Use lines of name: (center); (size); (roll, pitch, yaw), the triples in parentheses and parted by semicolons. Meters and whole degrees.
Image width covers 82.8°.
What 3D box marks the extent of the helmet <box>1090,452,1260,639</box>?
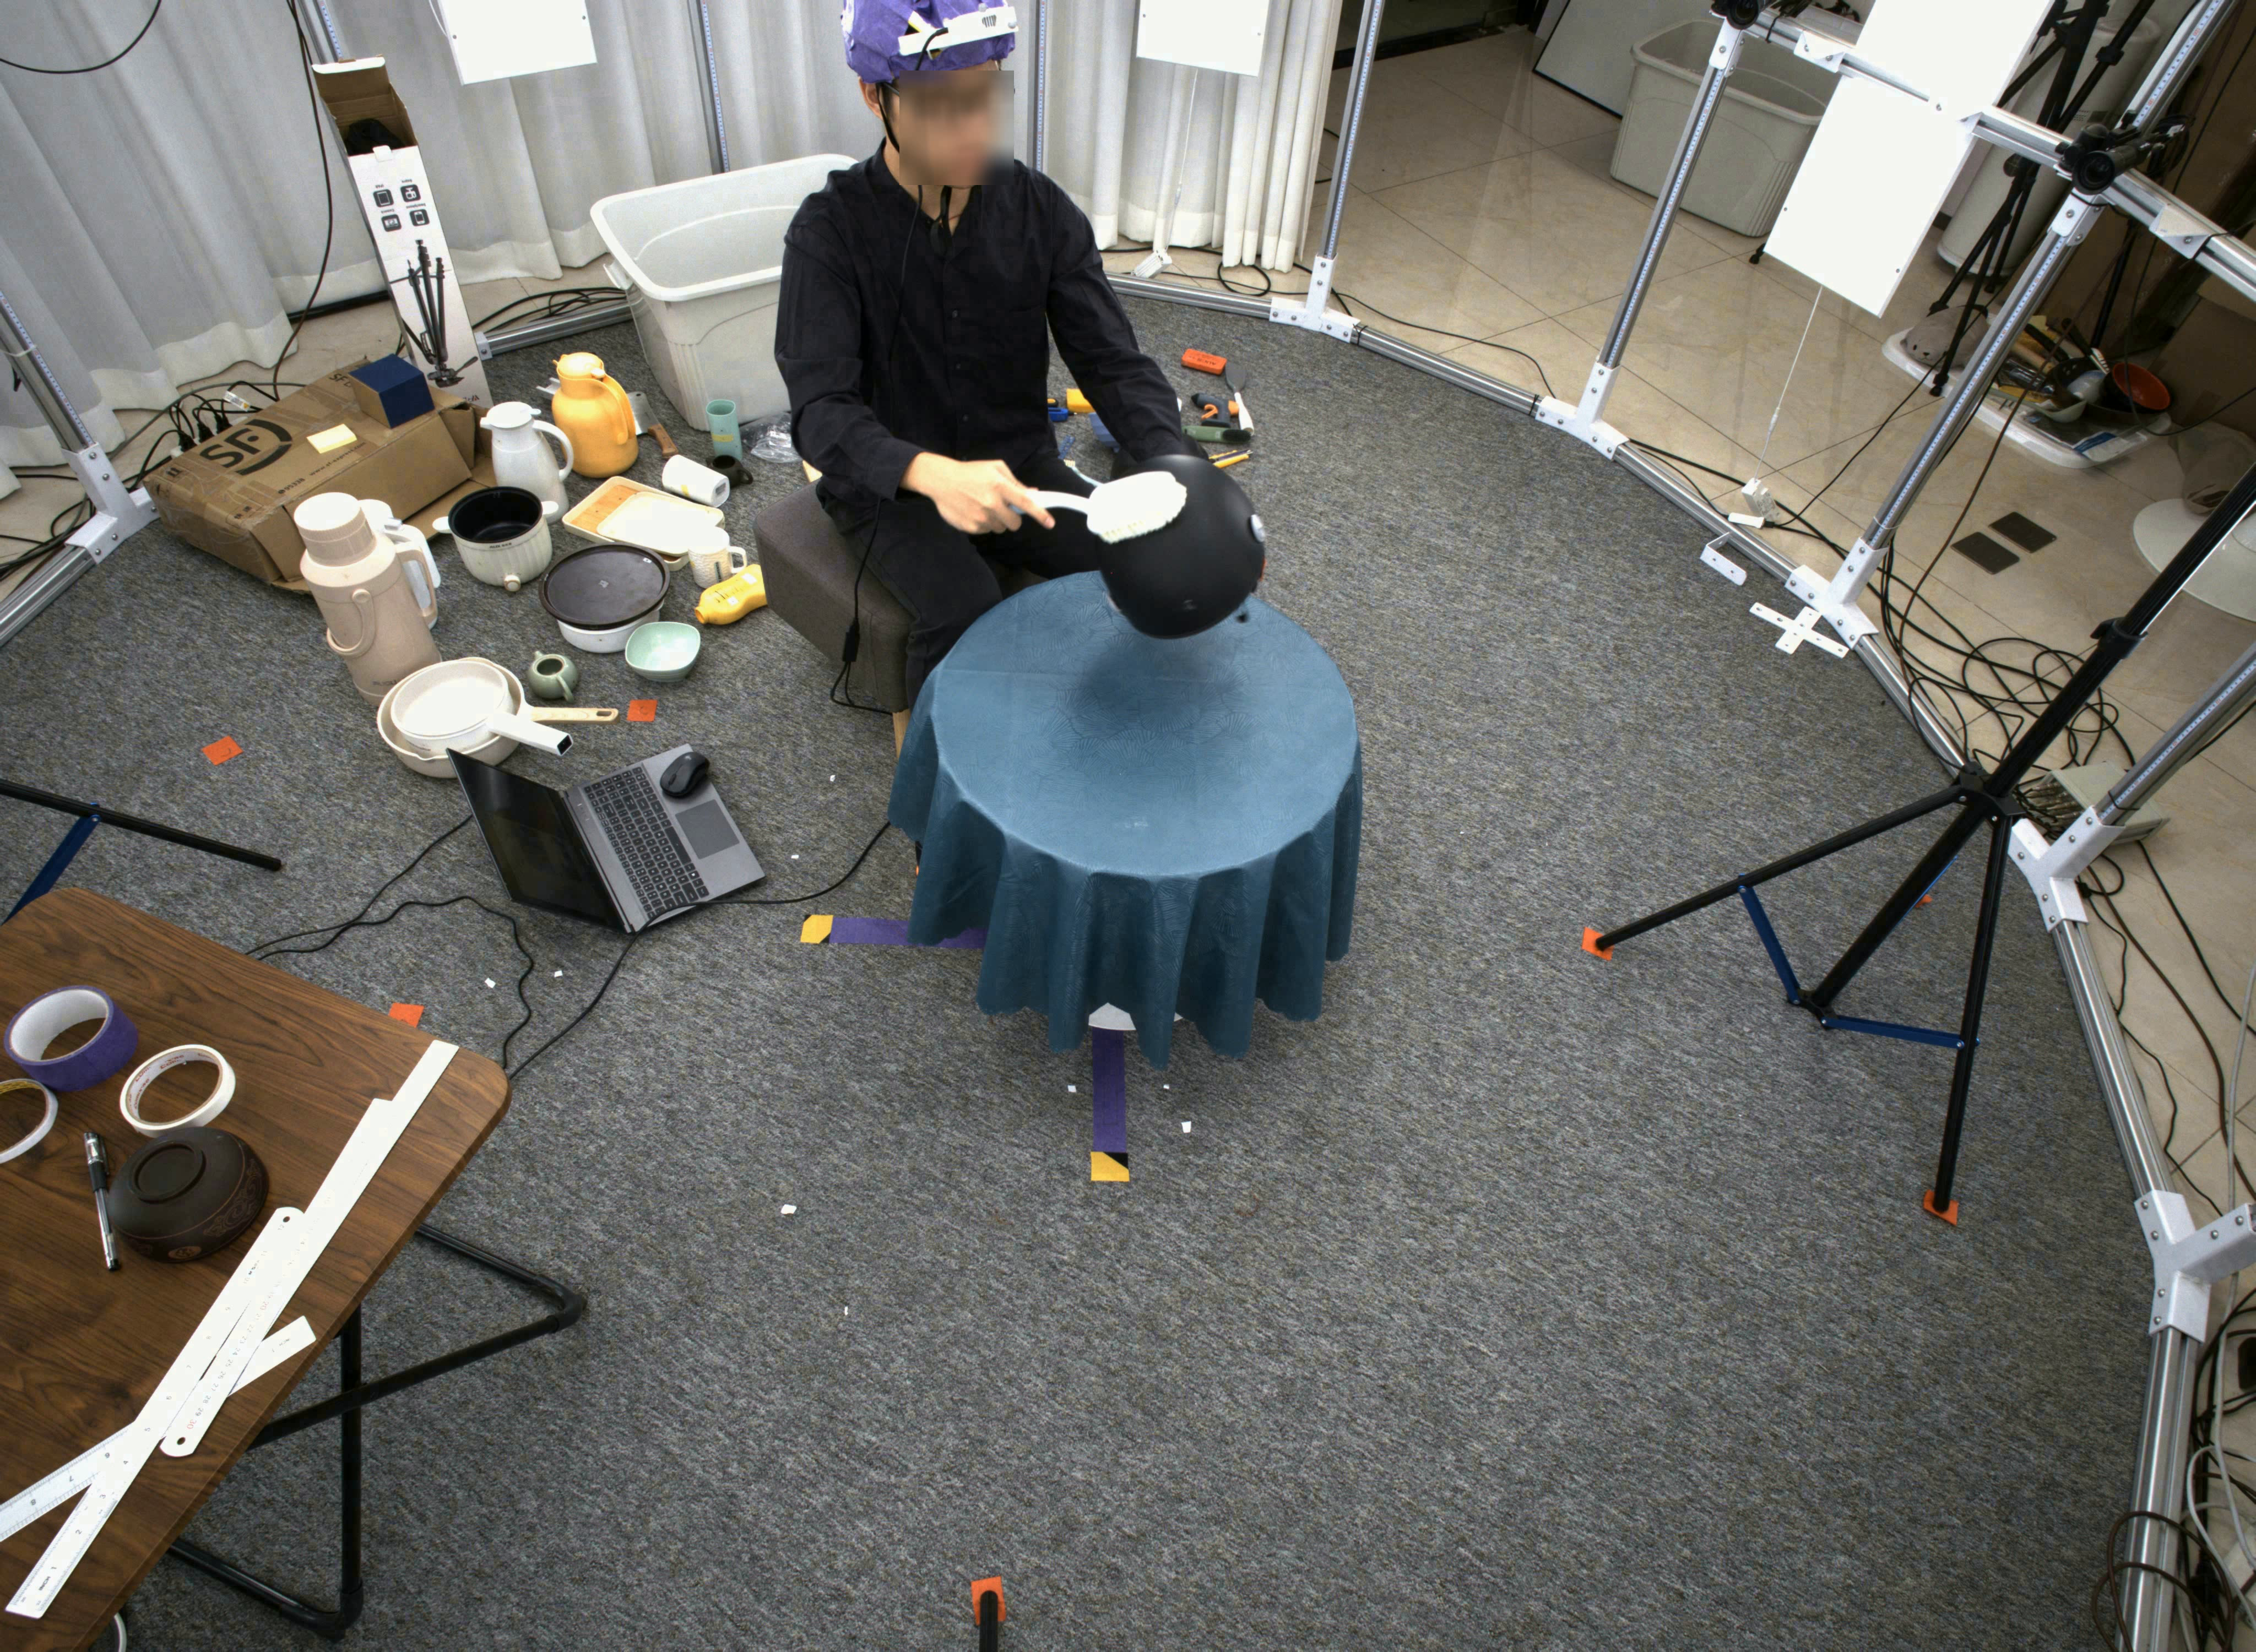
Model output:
helmet: (0.049, -0.393, 1.718); (0.229, 0.163, 0.280); (-24, 43, 18)

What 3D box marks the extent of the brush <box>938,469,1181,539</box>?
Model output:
brush: (-0.085, -0.405, 1.657); (0.326, 0.083, 0.084); (-4, 30, 20)
